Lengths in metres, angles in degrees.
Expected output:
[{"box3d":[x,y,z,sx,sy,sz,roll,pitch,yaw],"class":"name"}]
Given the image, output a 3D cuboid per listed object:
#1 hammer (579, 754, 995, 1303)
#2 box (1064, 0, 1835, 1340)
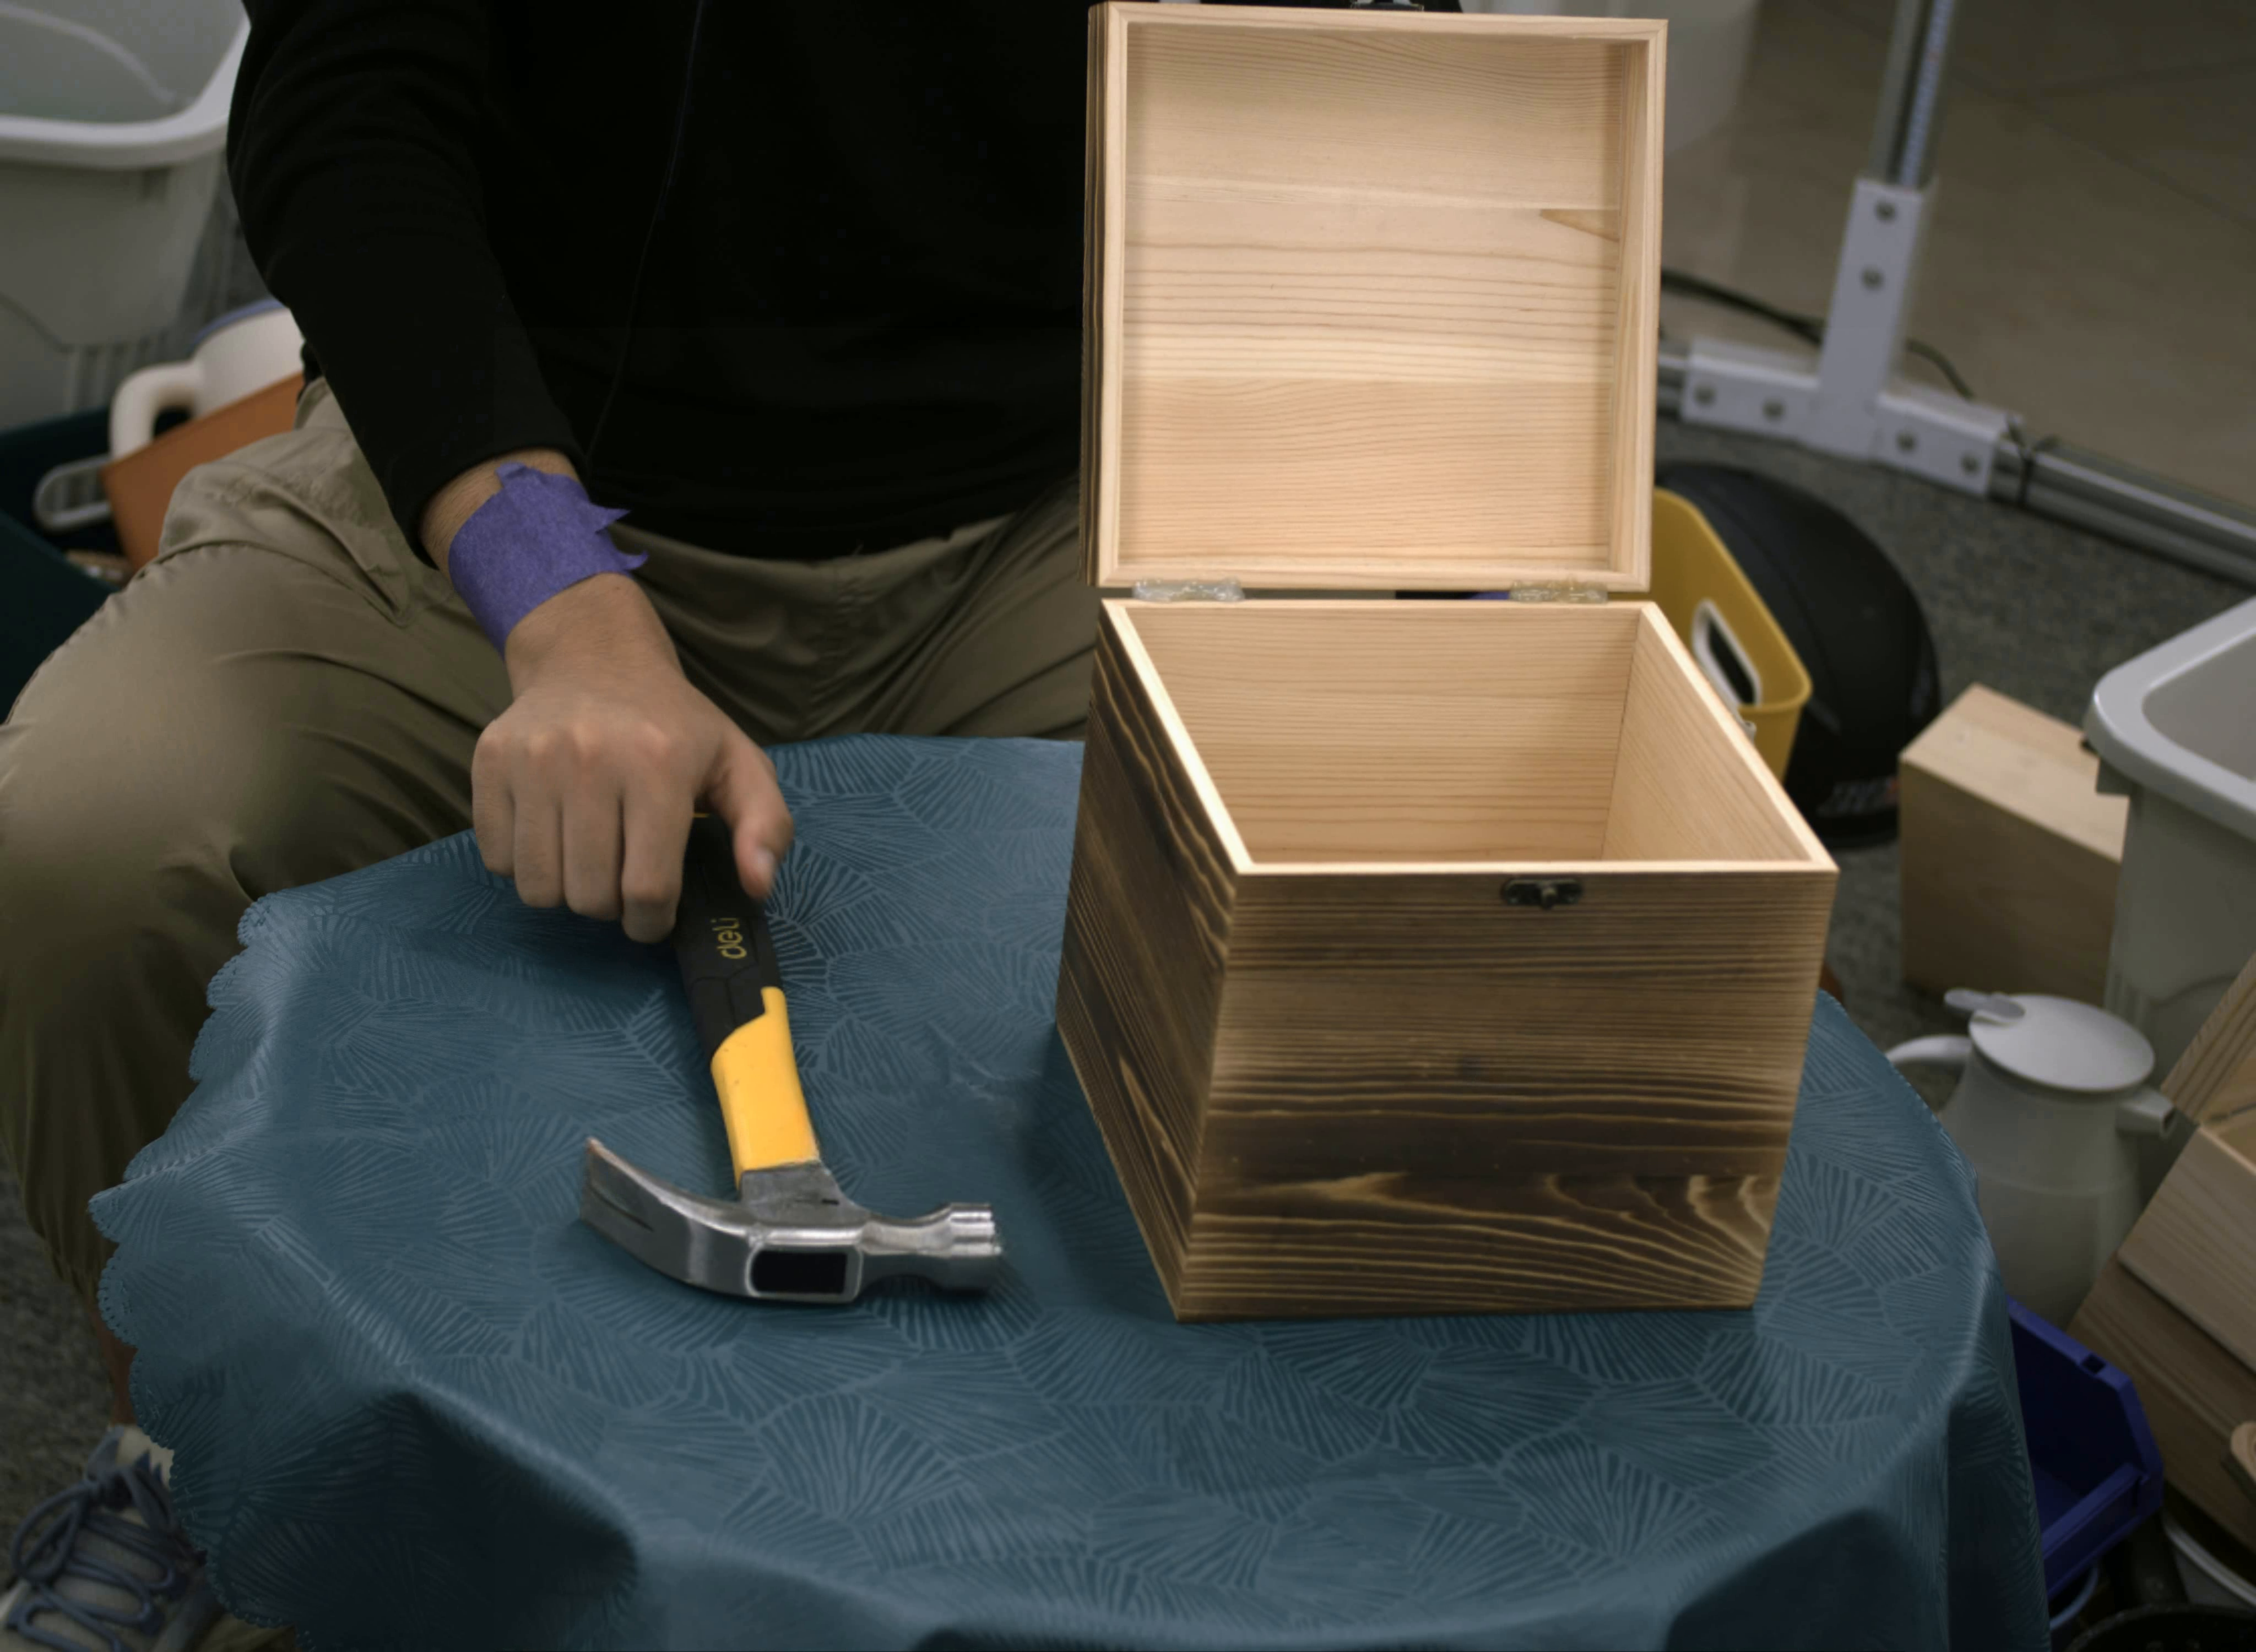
[{"box3d":[-0.134,0.062,1.856,0.131,0.032,0.341,1,28,-11],"class":"hammer"},{"box3d":[0.097,-0.066,1.807,0.207,0.374,0.325,-1,26,-13],"class":"box"}]
